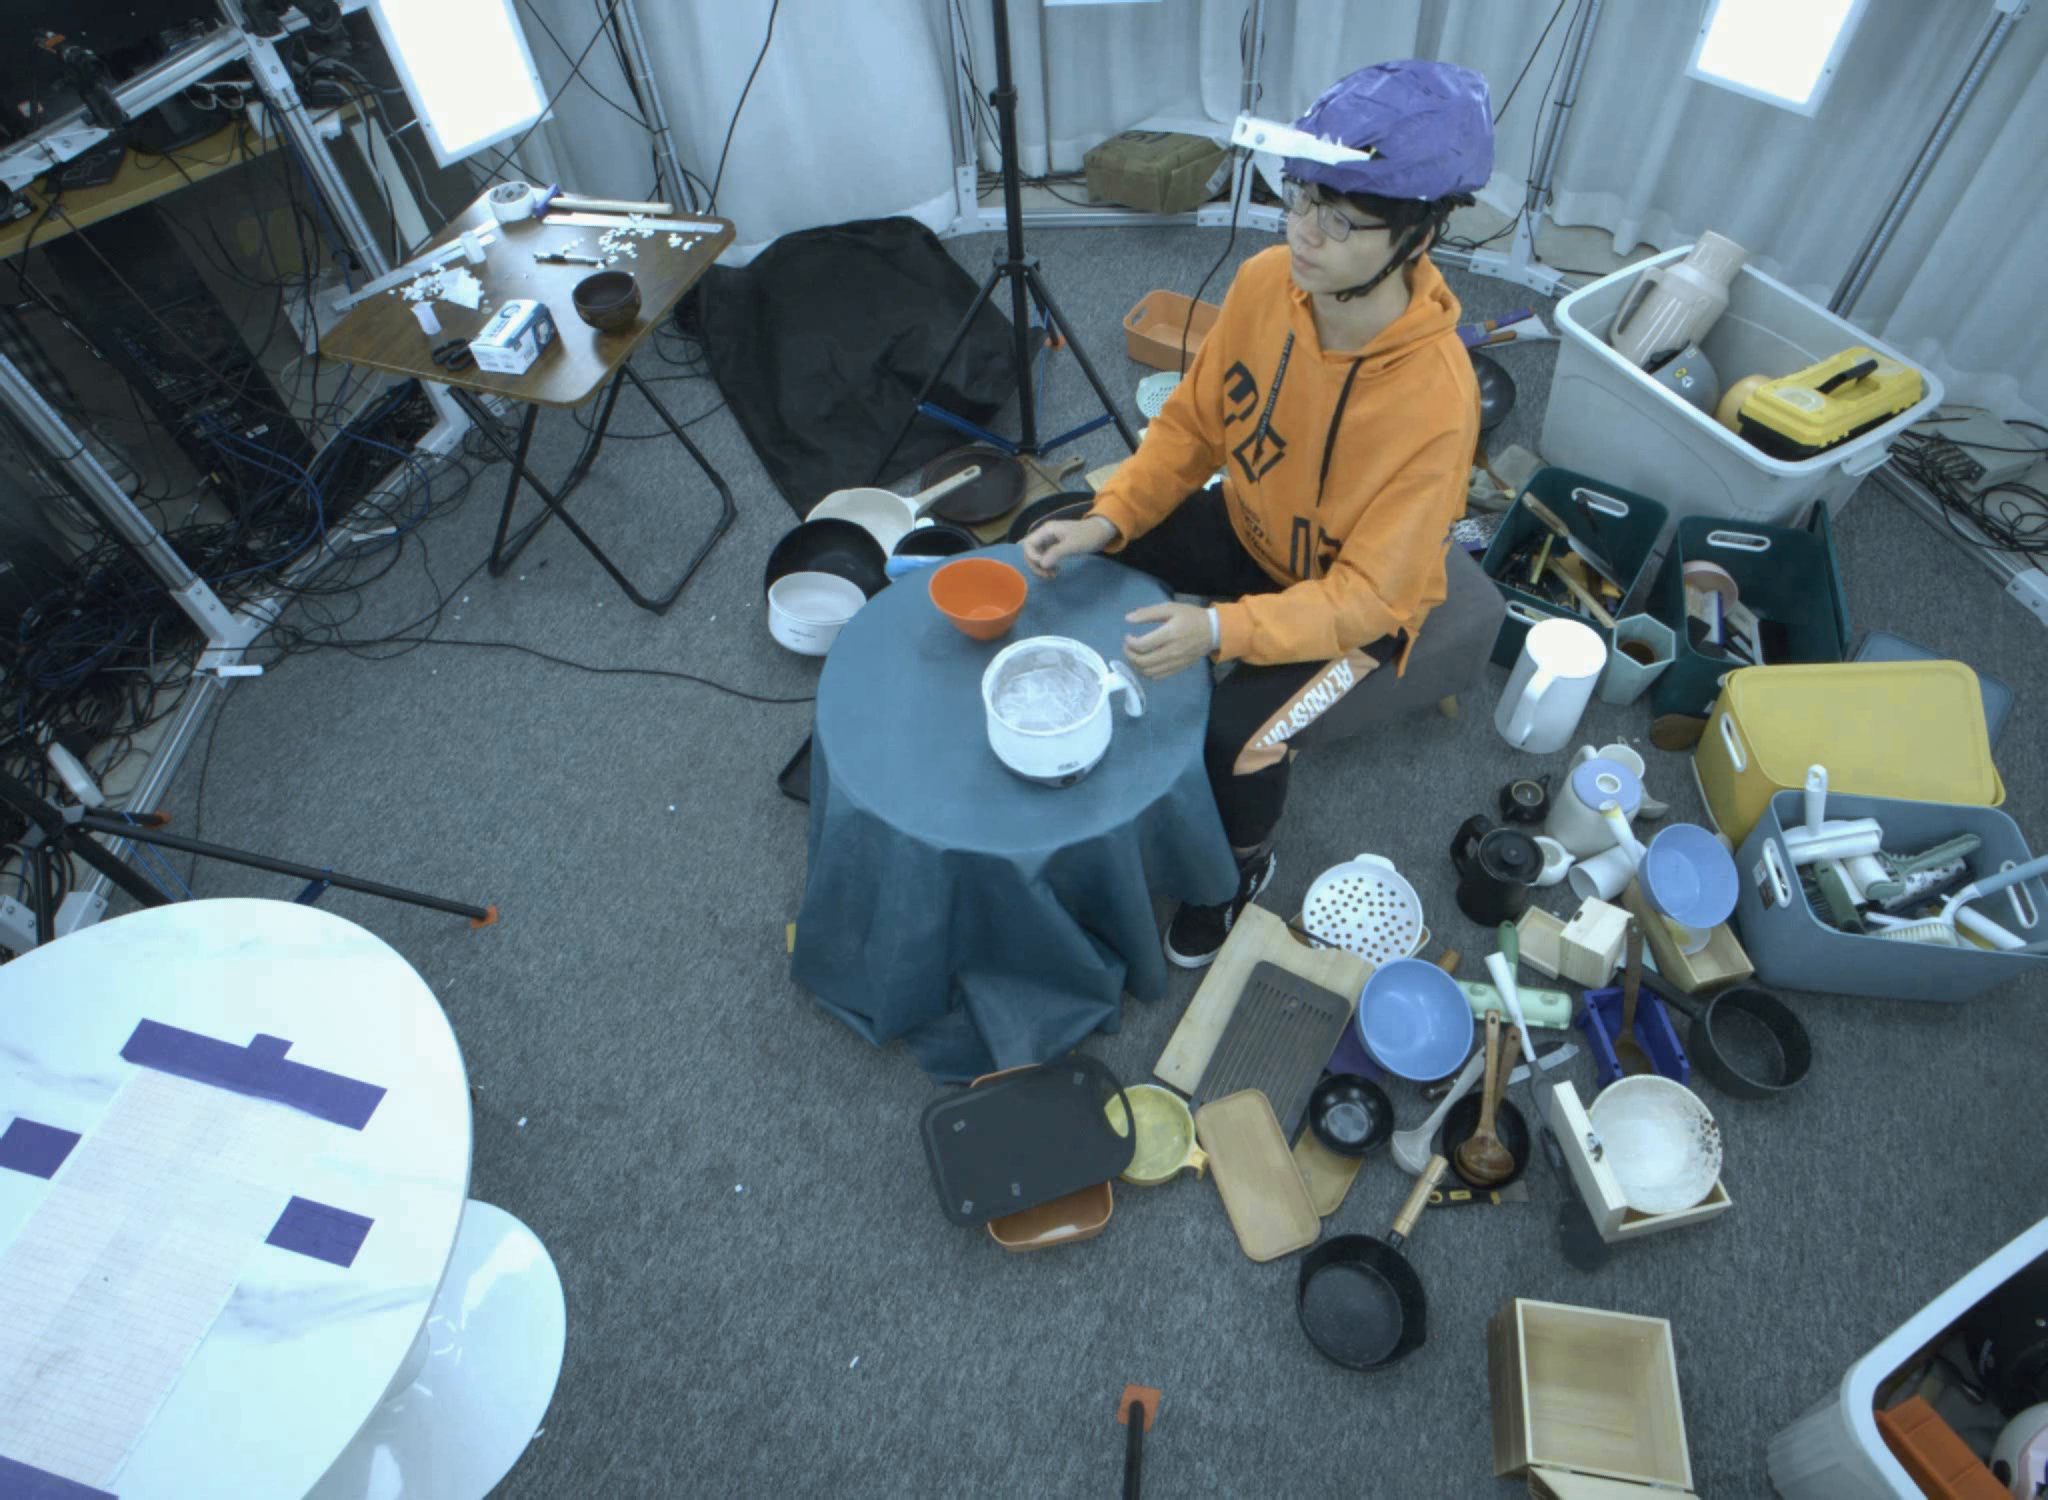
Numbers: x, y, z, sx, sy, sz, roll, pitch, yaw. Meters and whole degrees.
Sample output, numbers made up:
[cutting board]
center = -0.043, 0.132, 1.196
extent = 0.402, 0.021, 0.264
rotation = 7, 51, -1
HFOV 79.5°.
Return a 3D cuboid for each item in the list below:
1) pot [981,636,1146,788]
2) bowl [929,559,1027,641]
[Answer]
[pot]
center = 0.060, -0.061, 1.743
extent = 0.235, 0.138, 0.175
rotation = -17, 56, -9
[bowl]
center = -0.069, -0.219, 1.886
extent = 0.148, 0.106, 0.146
rotation = 0, 54, 1
